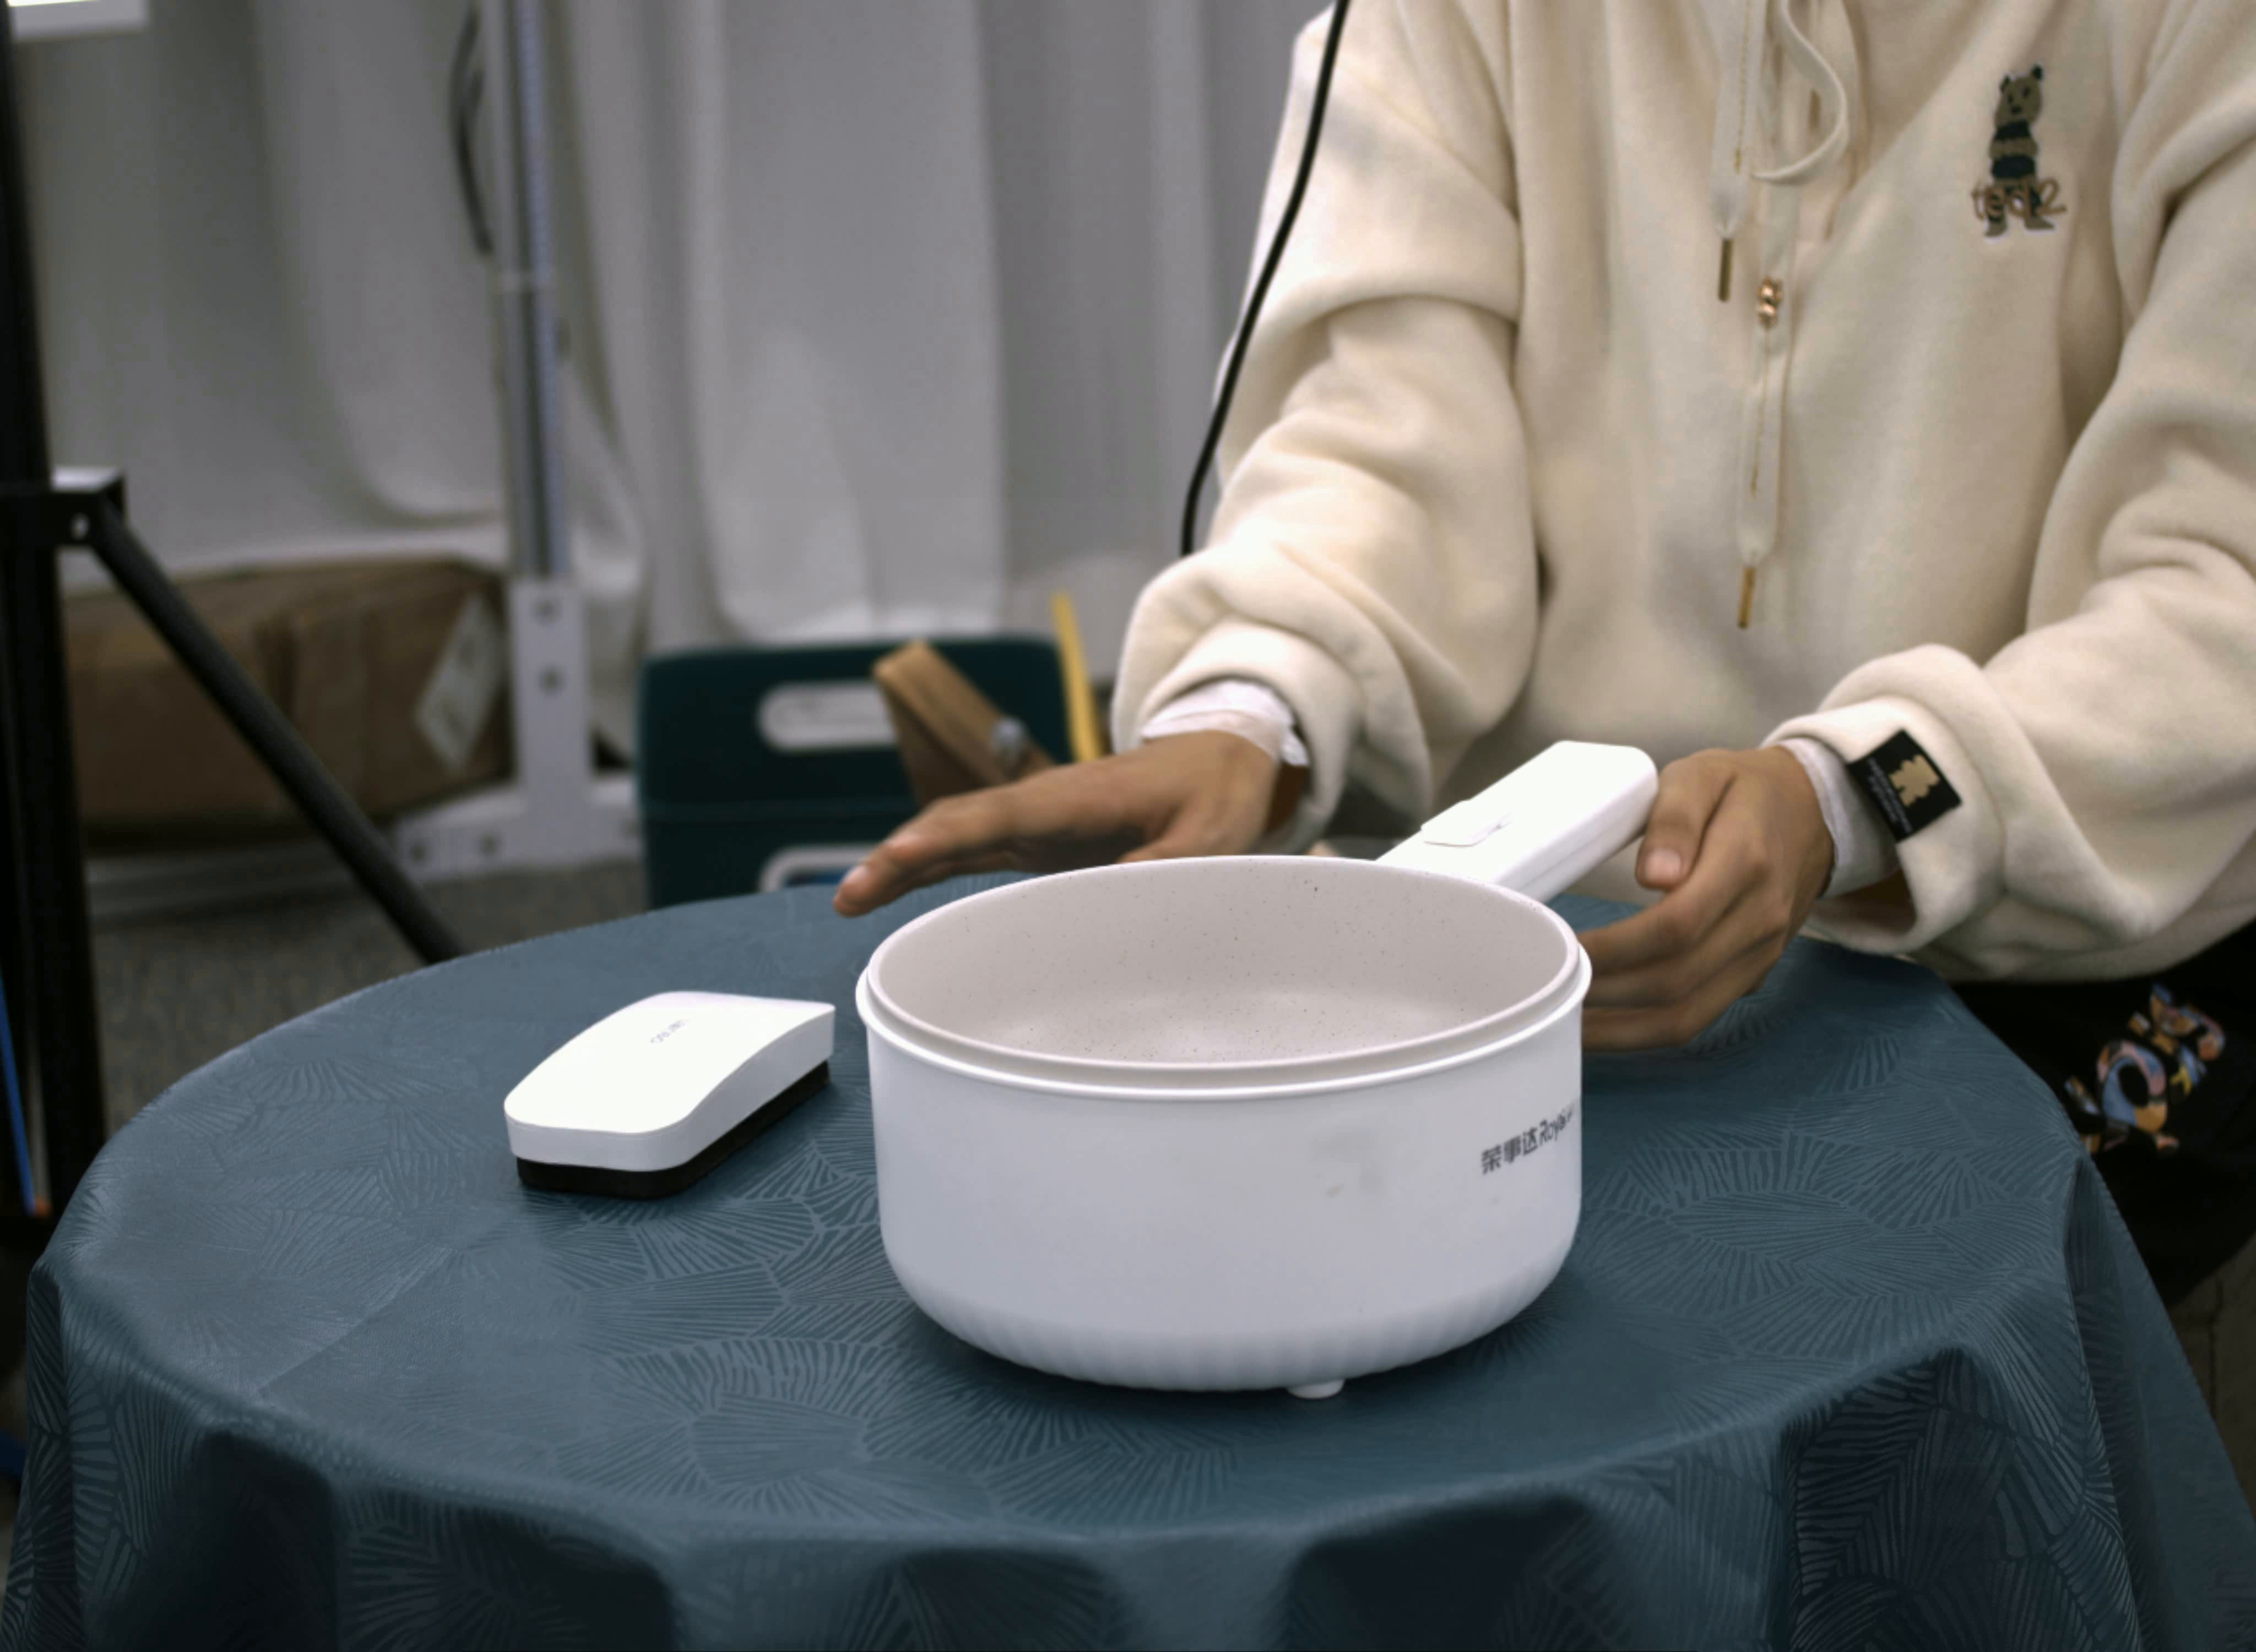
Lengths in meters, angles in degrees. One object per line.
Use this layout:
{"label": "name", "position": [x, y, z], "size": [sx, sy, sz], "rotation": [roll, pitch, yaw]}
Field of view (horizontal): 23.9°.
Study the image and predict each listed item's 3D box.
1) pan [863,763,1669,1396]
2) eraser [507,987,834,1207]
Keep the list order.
{"label": "pan", "position": [0.064, 0.065, 1.517], "size": [0.205, 0.102, 0.348], "rotation": [8, 16, 29]}
{"label": "eraser", "position": [-0.137, 0.079, 1.629], "size": [0.064, 0.034, 0.129], "rotation": [6, 18, 21]}
